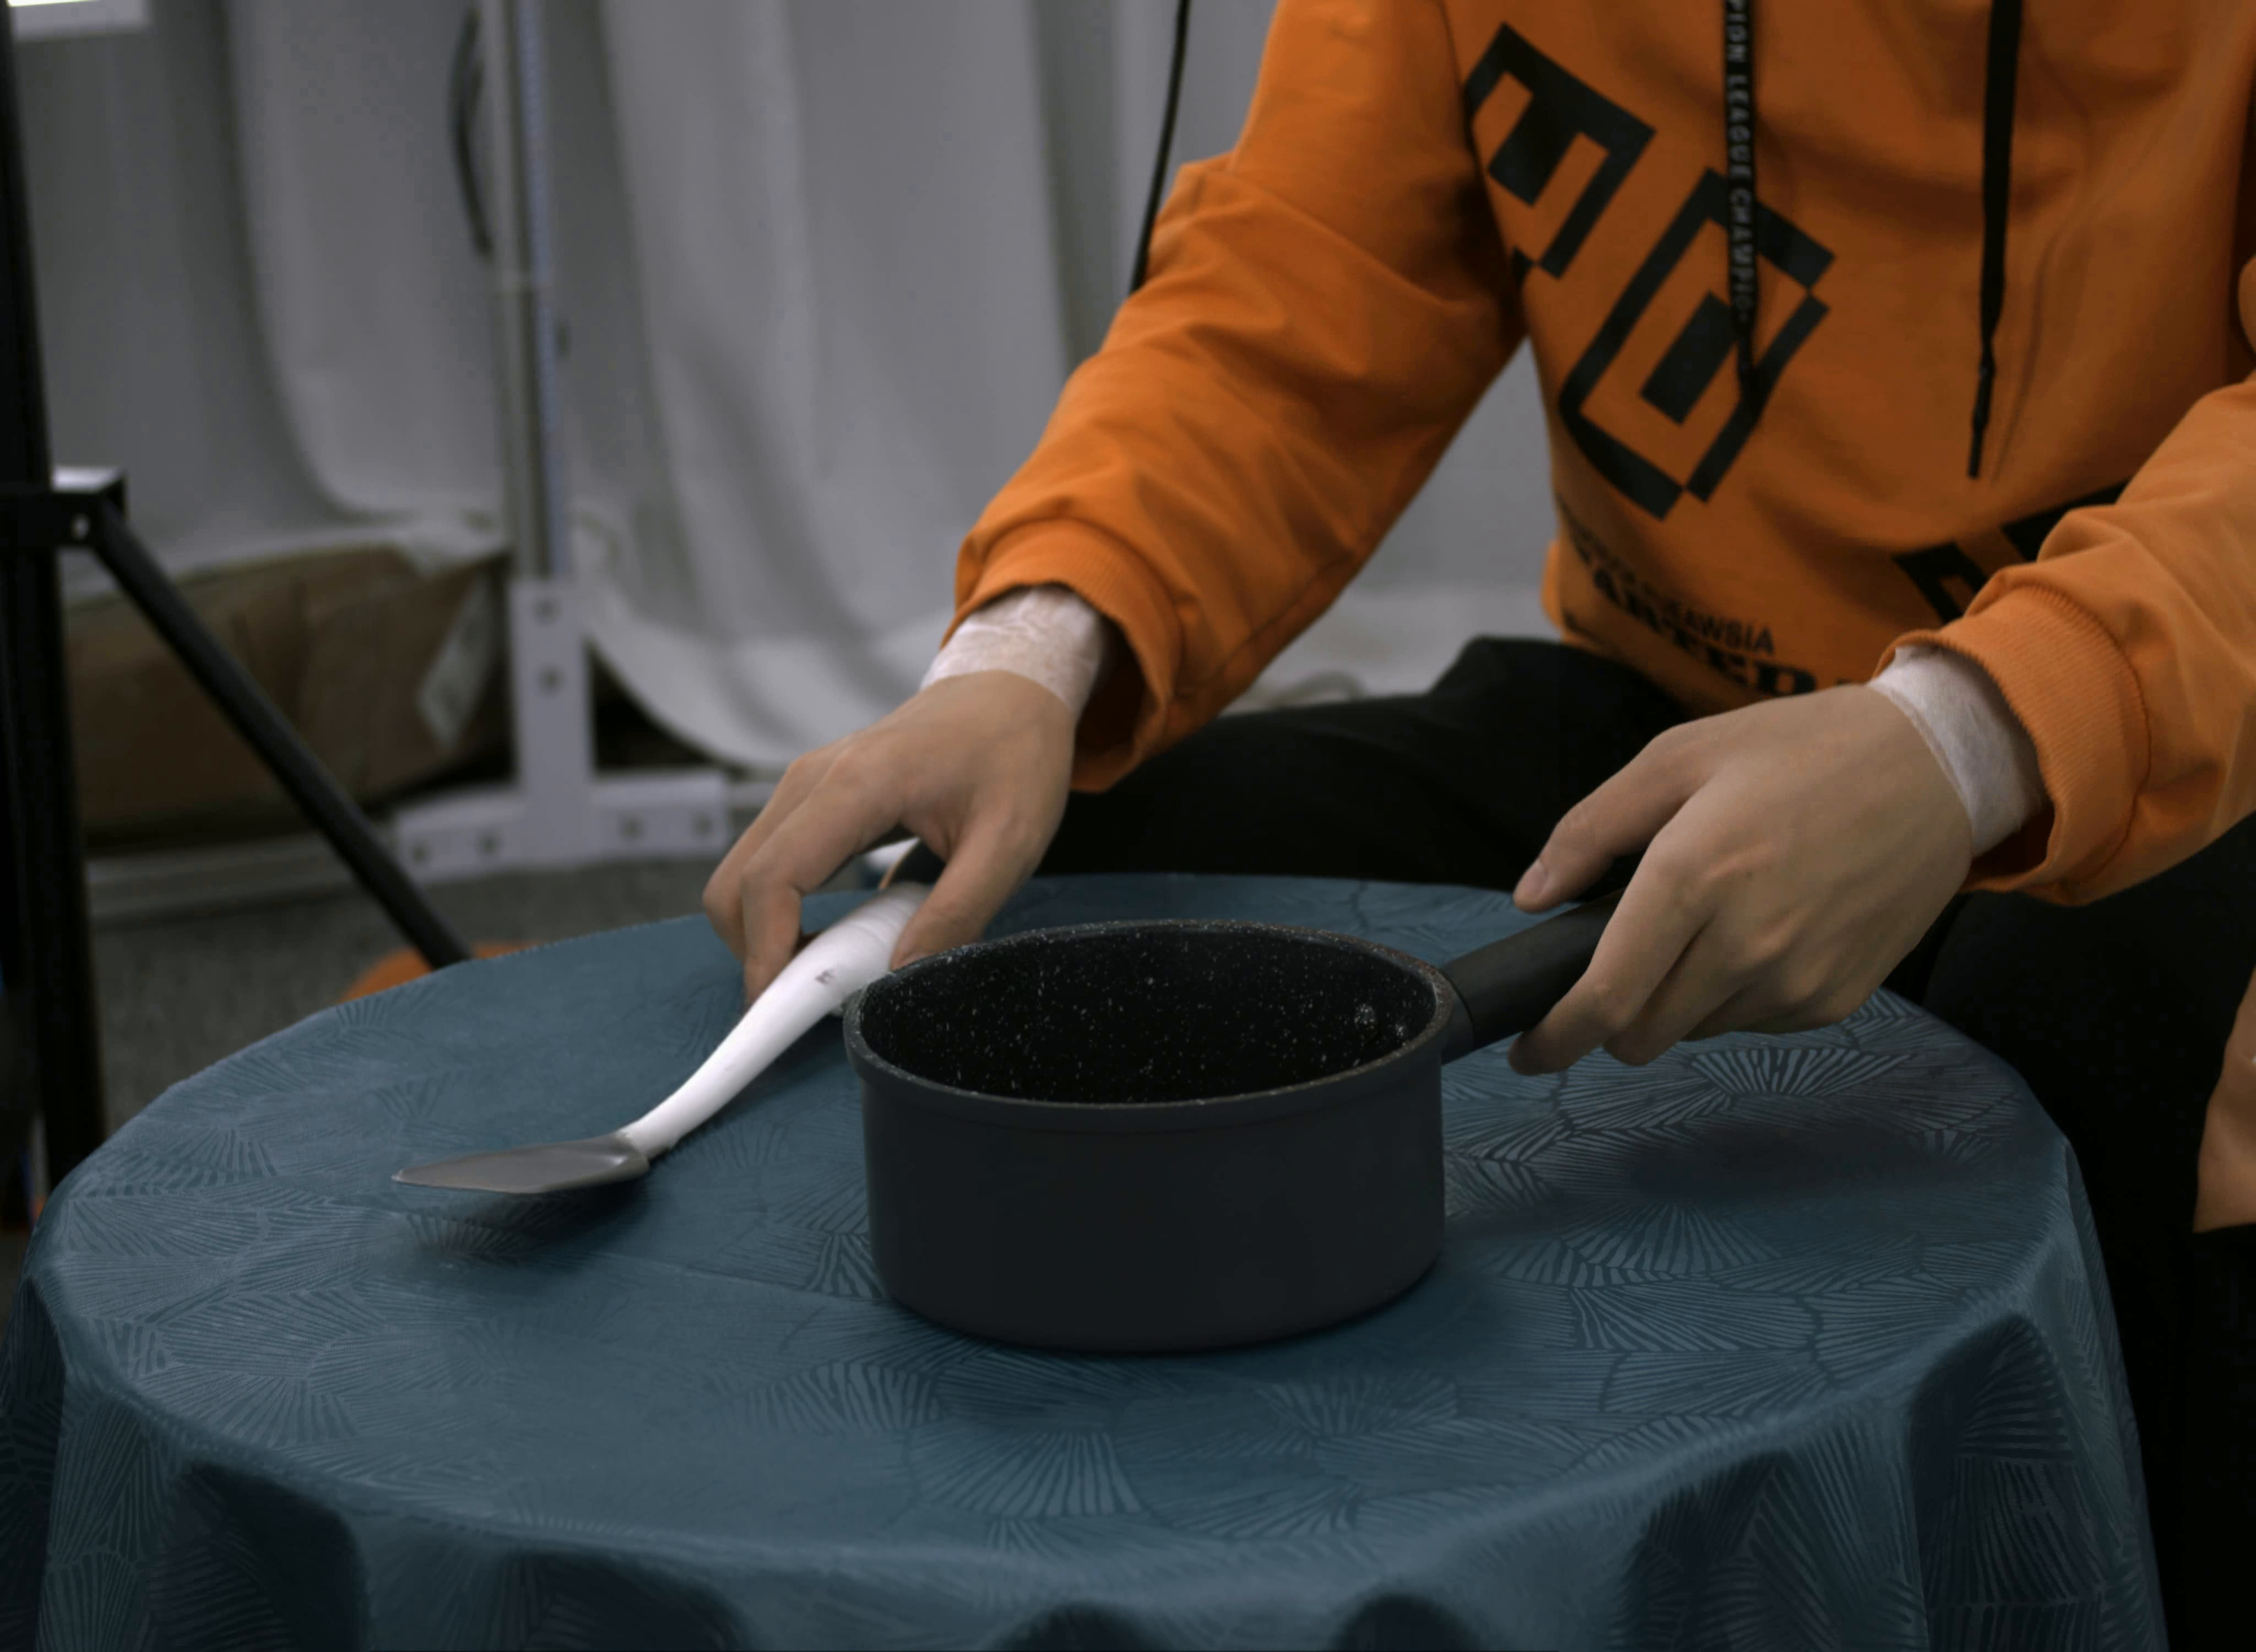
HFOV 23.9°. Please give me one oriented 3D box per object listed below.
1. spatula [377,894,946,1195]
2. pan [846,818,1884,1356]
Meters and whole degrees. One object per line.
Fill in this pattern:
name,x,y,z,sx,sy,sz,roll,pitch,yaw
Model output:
spatula,-0.133,0.074,1.641,0.059,0.032,0.283,8,19,24
pan,0.077,0.070,1.524,0.322,0.086,0.175,-12,19,-25
